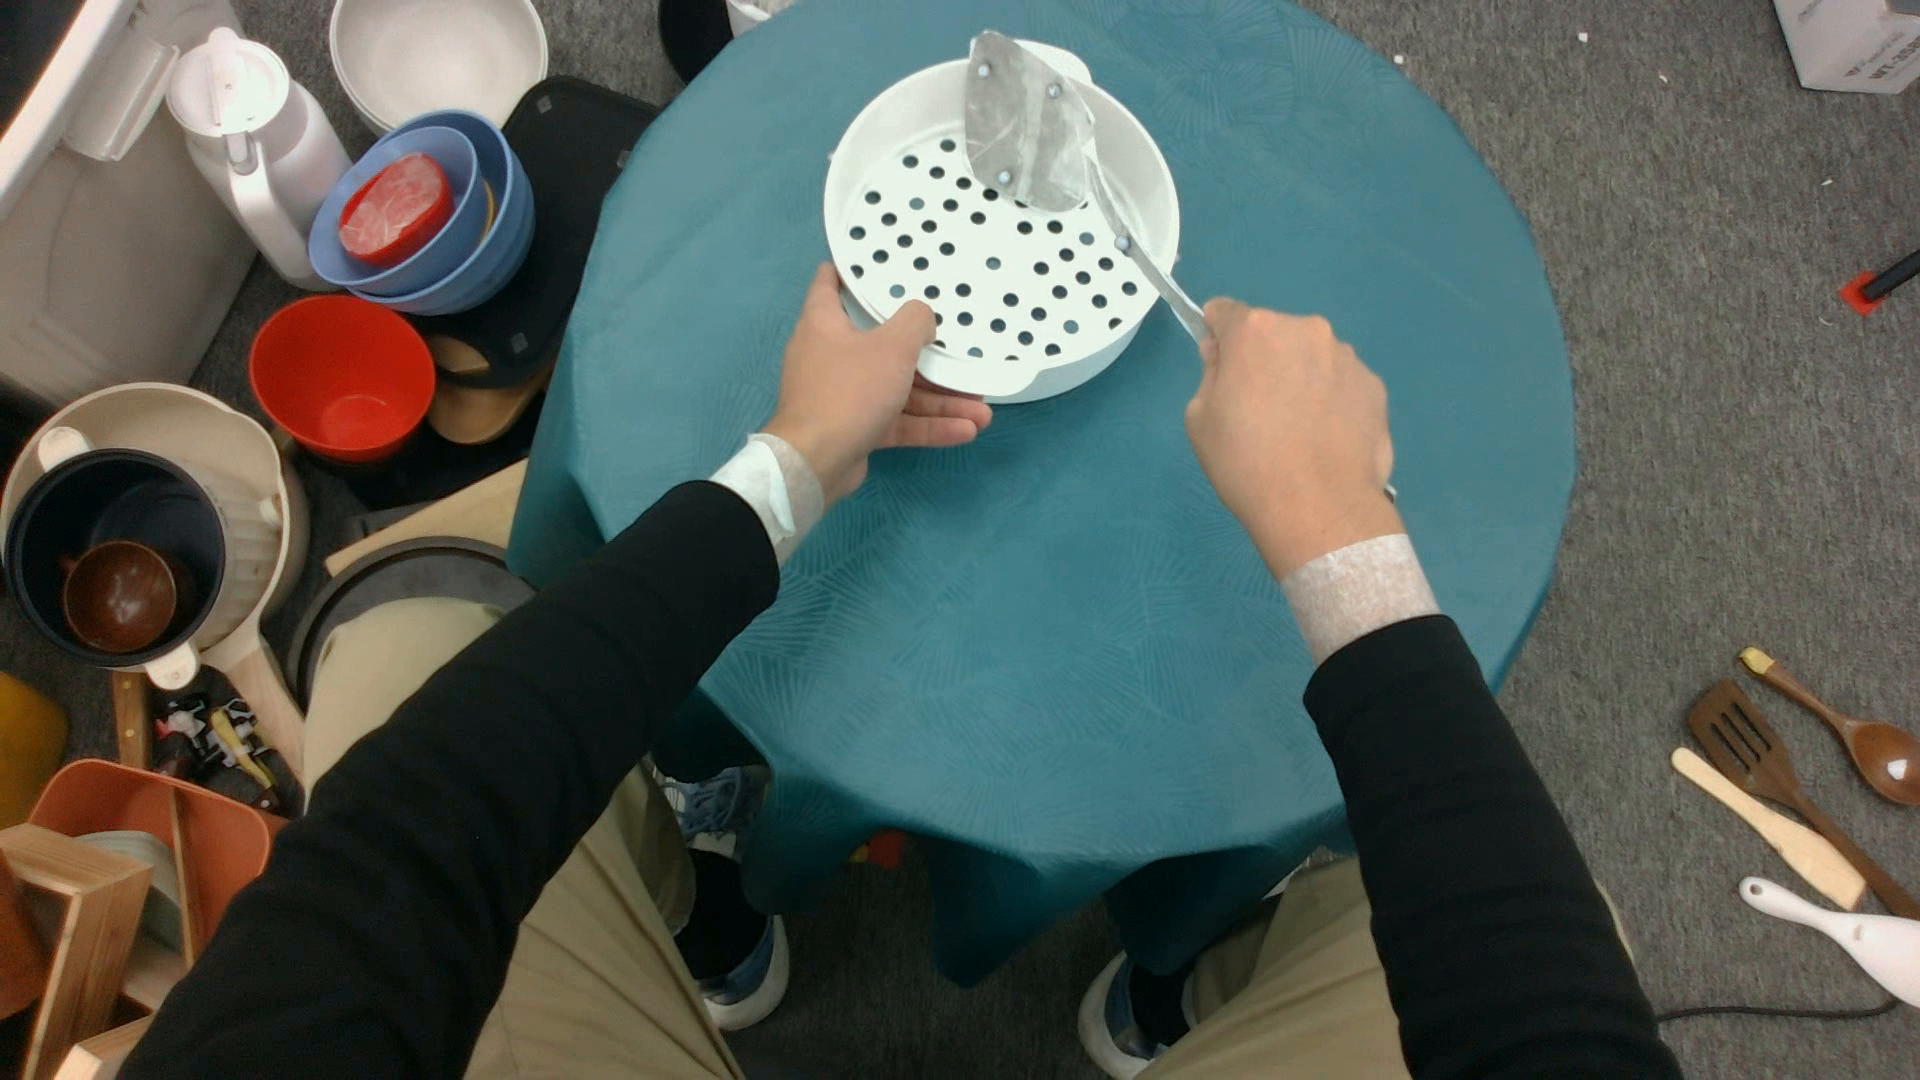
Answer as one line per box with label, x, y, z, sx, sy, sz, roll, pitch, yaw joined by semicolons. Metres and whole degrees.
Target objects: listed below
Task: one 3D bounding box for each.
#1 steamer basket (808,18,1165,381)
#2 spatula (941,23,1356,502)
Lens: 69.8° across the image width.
steamer basket;0.014;-0.190;0.803;0.202;0.069;0.231;12;72;-1
spatula;0.087;-0.147;0.721;0.045;0.098;0.366;-16;52;-21
